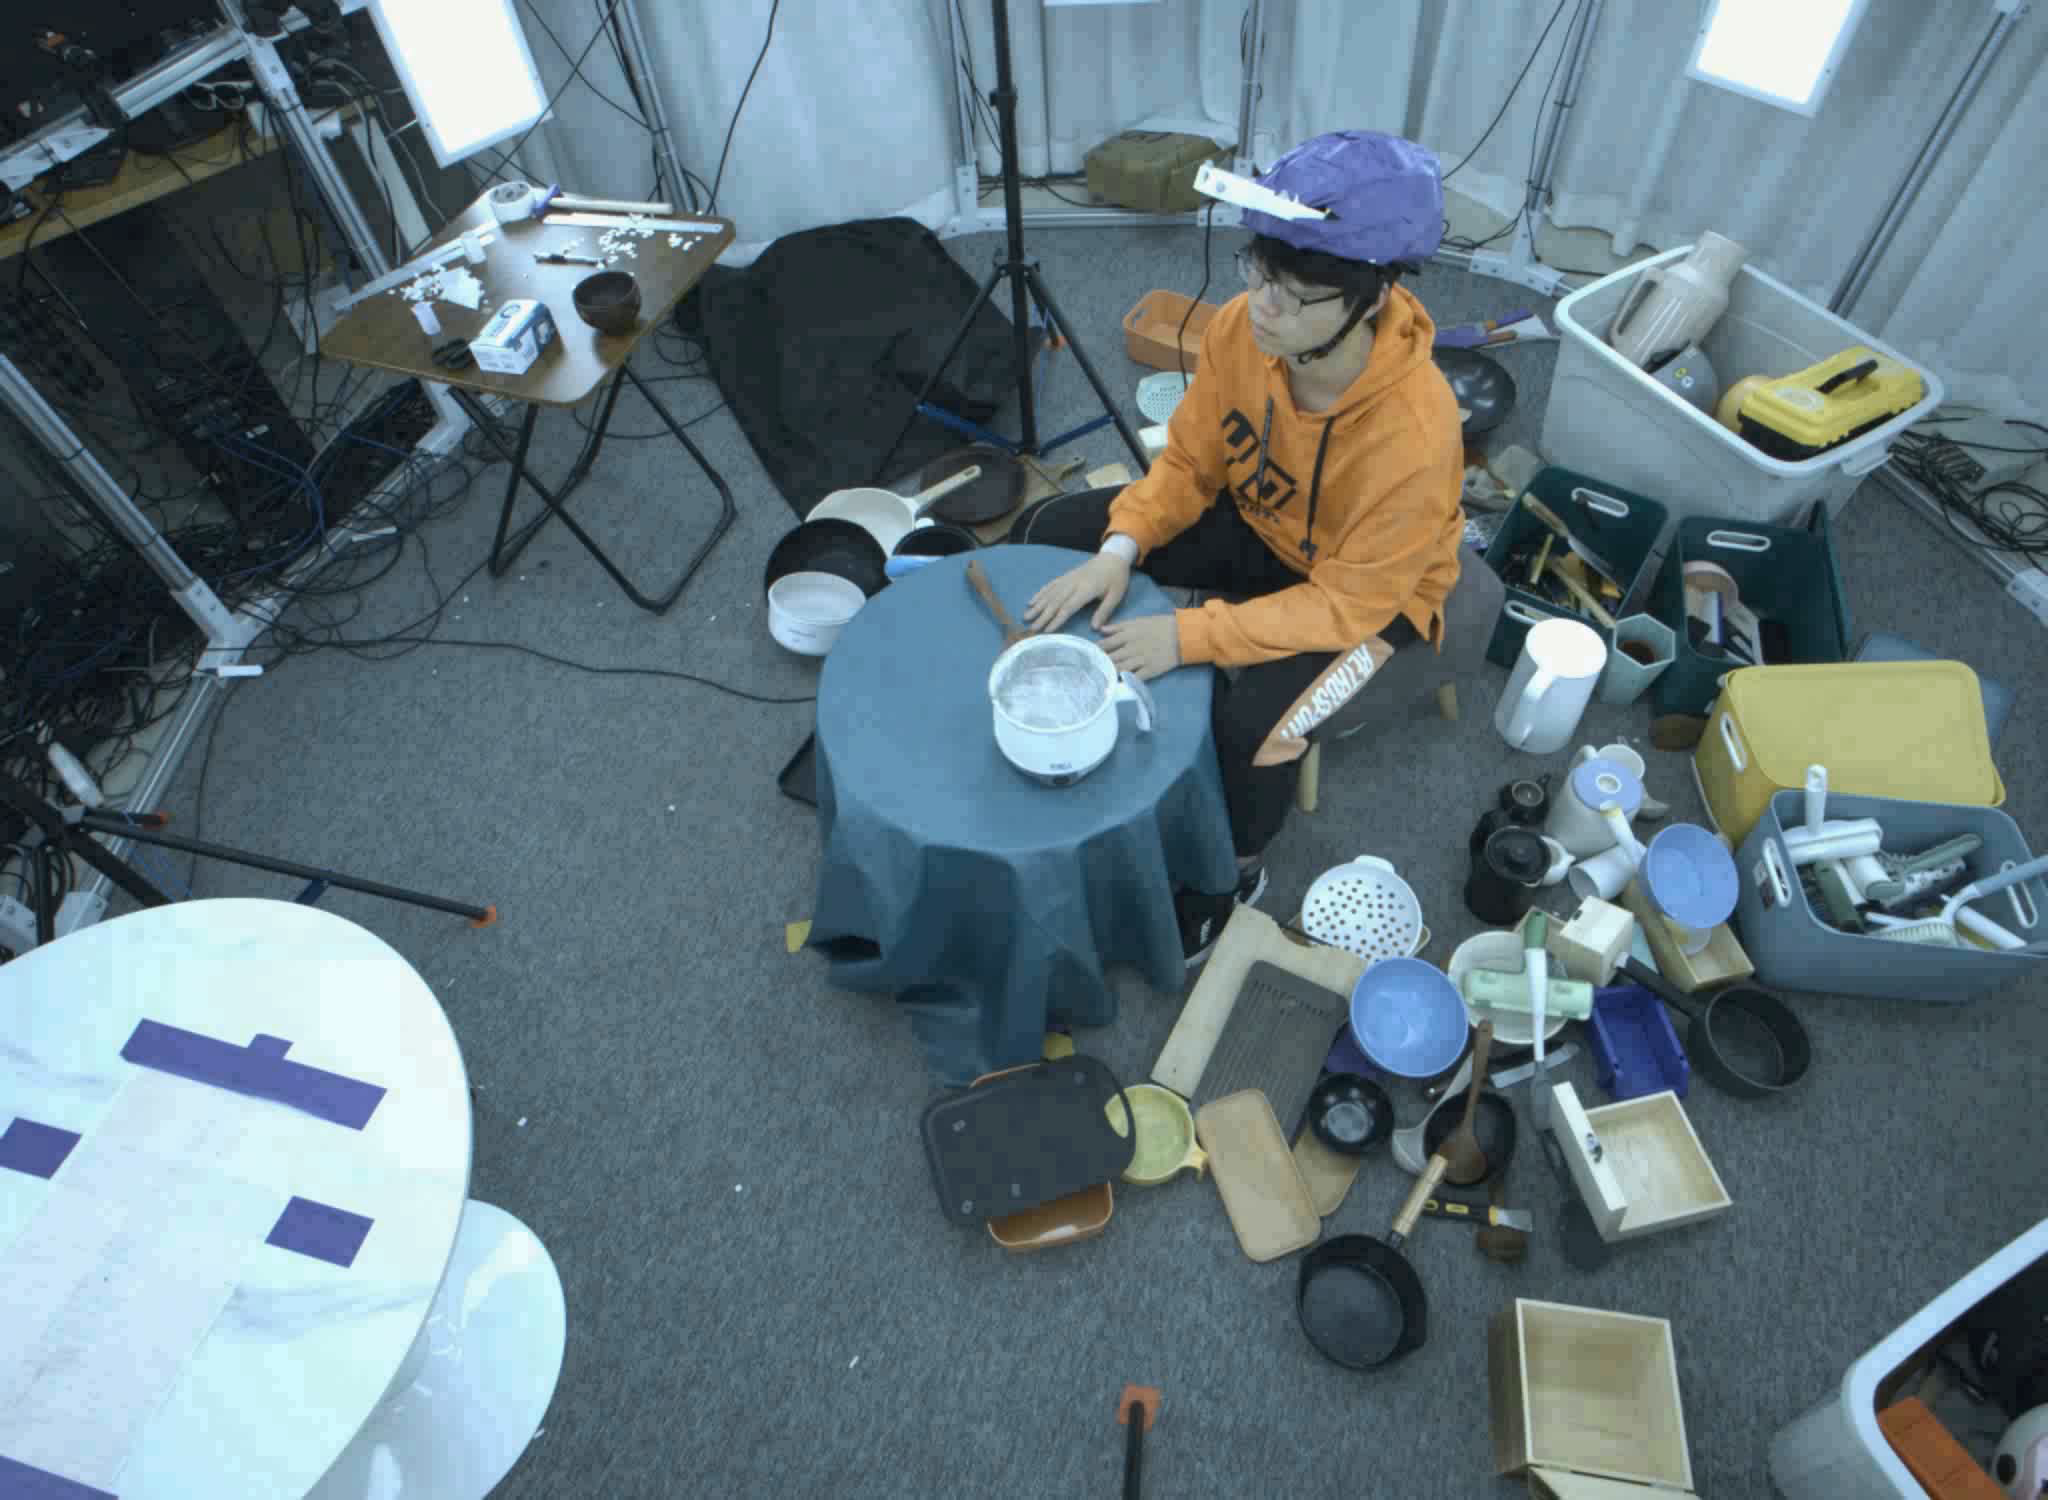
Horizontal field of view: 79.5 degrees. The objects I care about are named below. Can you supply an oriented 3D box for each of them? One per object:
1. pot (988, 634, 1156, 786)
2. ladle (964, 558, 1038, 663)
[{"bbox_3d":[0.070,-0.059,1.741,0.234,0.138,0.176,-6,55,-1],"label":"pot"},{"bbox_3d":[-0.050,-0.224,1.910,0.076,0.066,0.255,-35,57,10],"label":"ladle"}]
